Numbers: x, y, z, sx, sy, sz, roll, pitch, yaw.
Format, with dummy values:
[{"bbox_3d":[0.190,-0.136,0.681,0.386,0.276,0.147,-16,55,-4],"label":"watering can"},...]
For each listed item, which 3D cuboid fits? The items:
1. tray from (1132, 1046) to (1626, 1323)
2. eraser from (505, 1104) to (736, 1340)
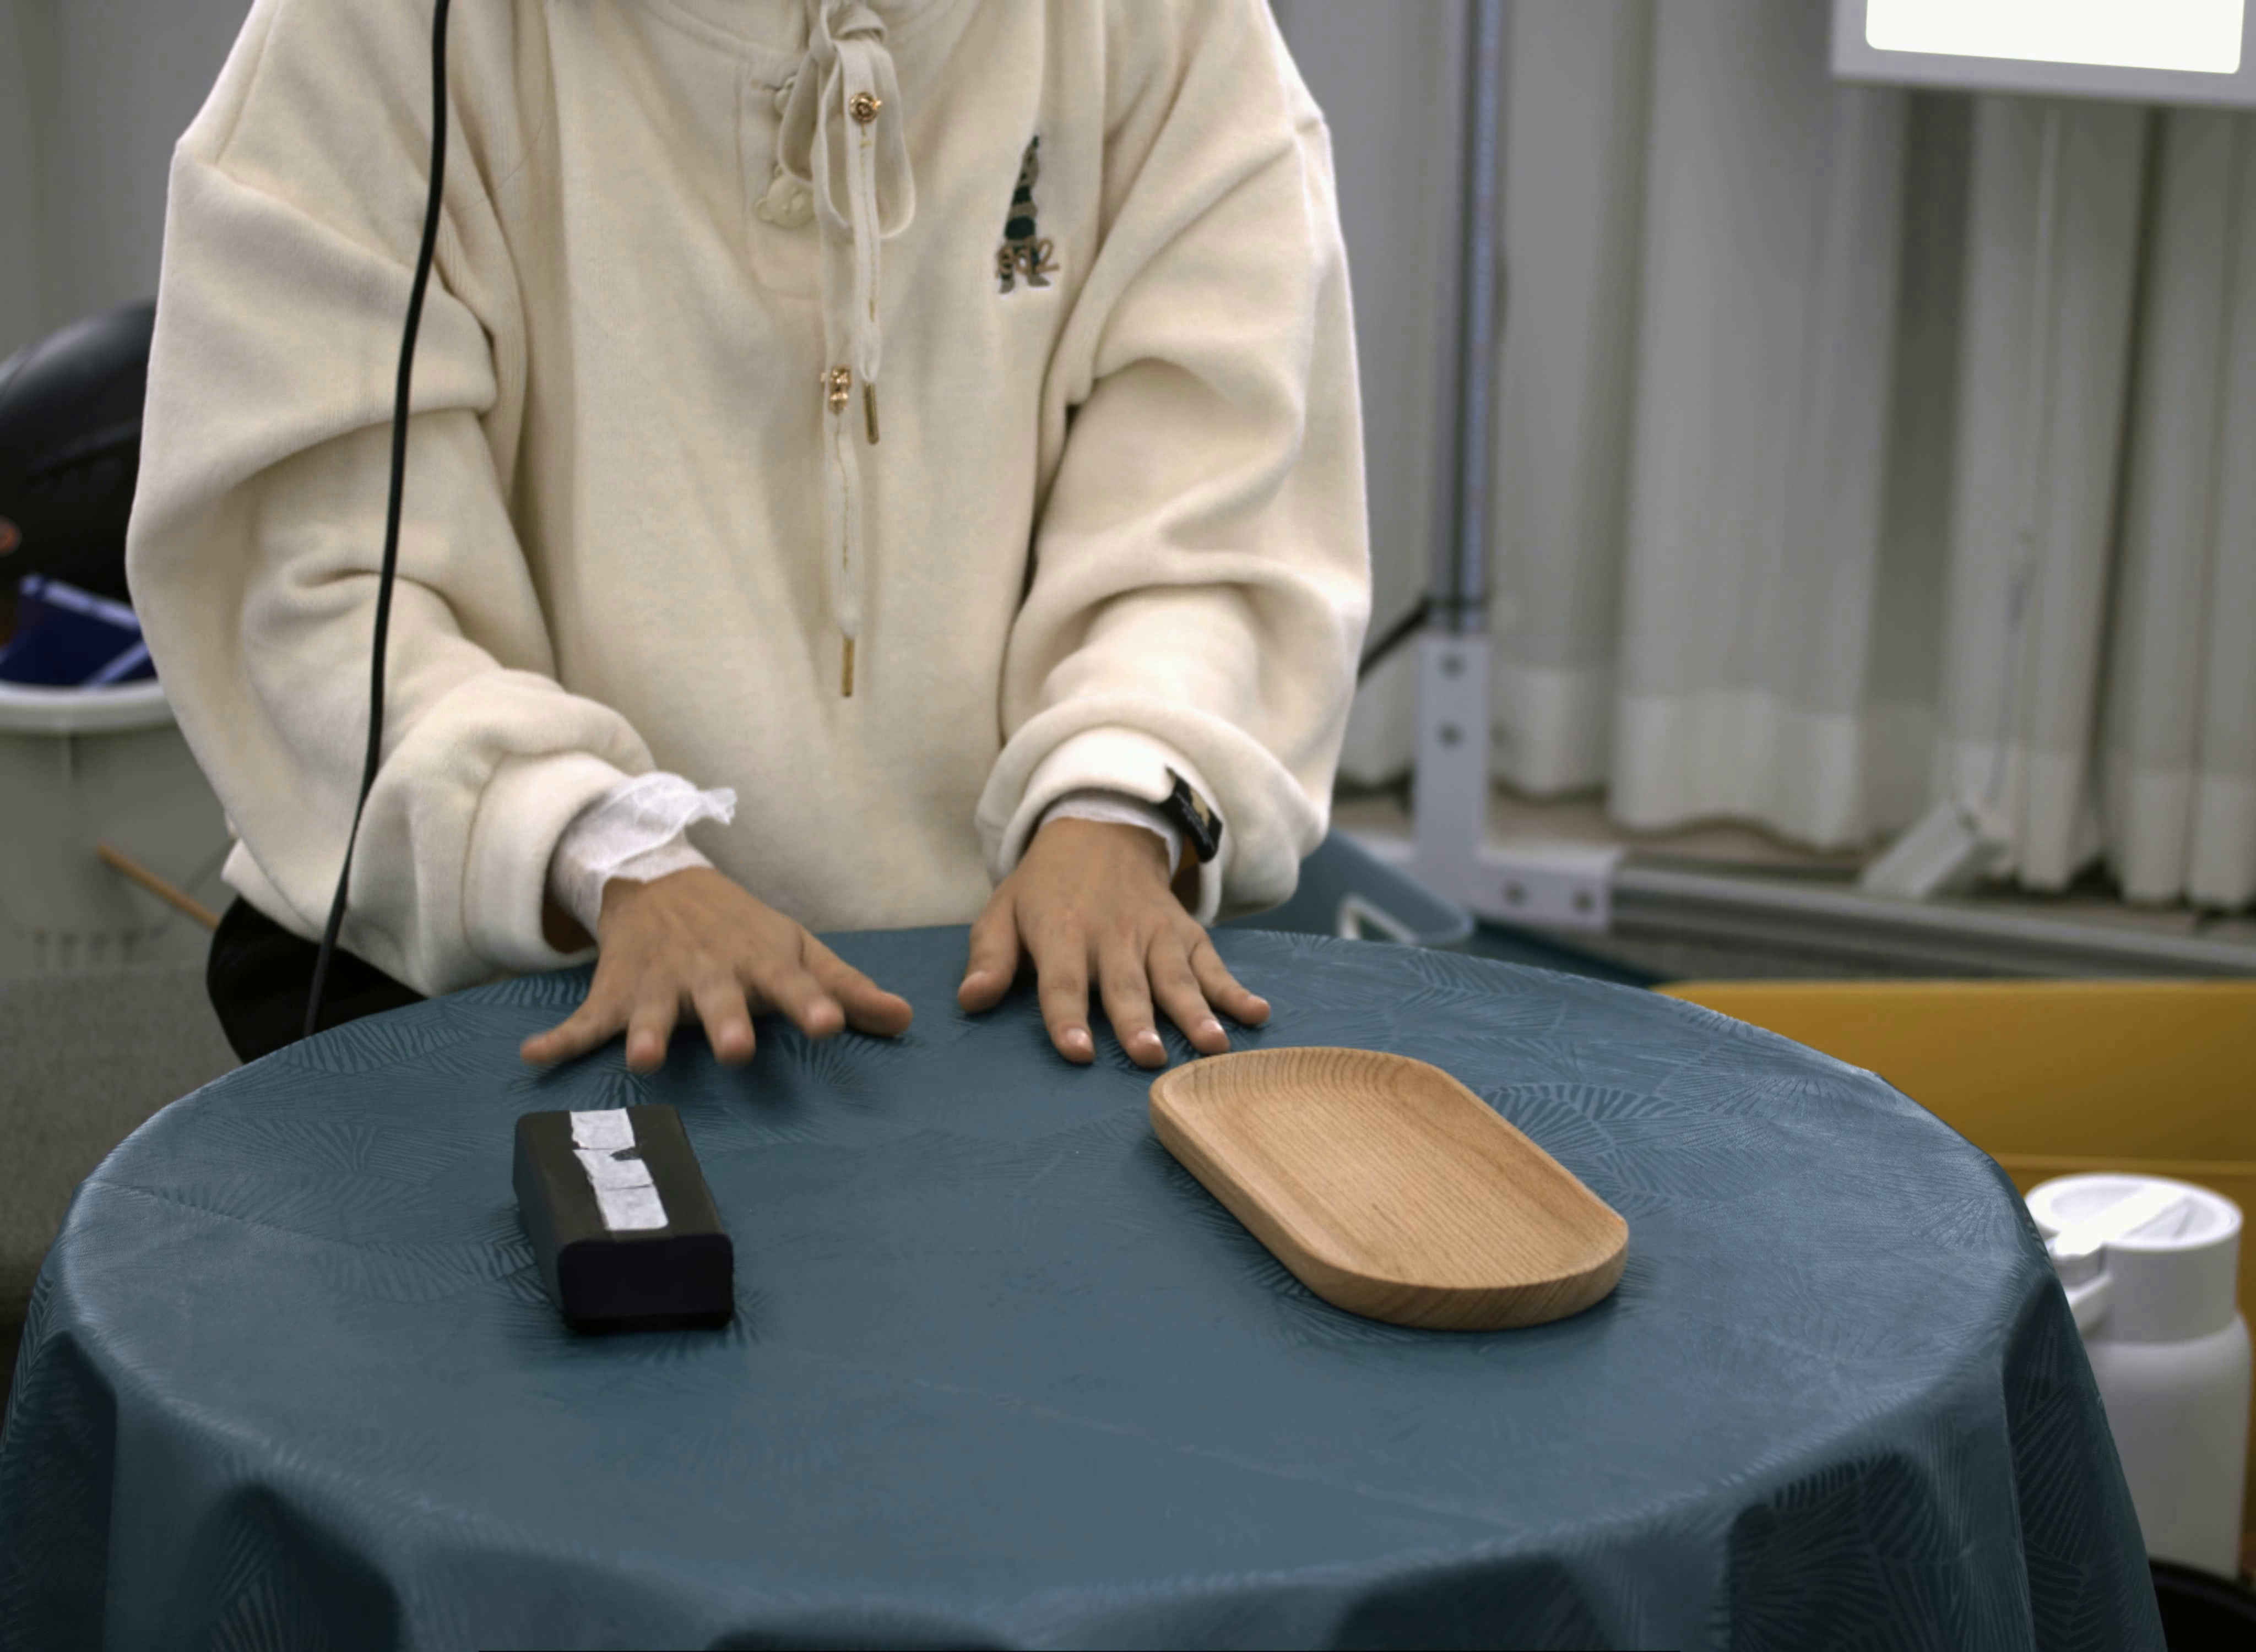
[{"bbox_3d":[0.074,0.107,1.611,0.102,0.020,0.229,-5,15,-19],"label":"tray"},{"bbox_3d":[-0.150,0.116,1.550,0.053,0.030,0.124,3,16,-14],"label":"eraser"}]
